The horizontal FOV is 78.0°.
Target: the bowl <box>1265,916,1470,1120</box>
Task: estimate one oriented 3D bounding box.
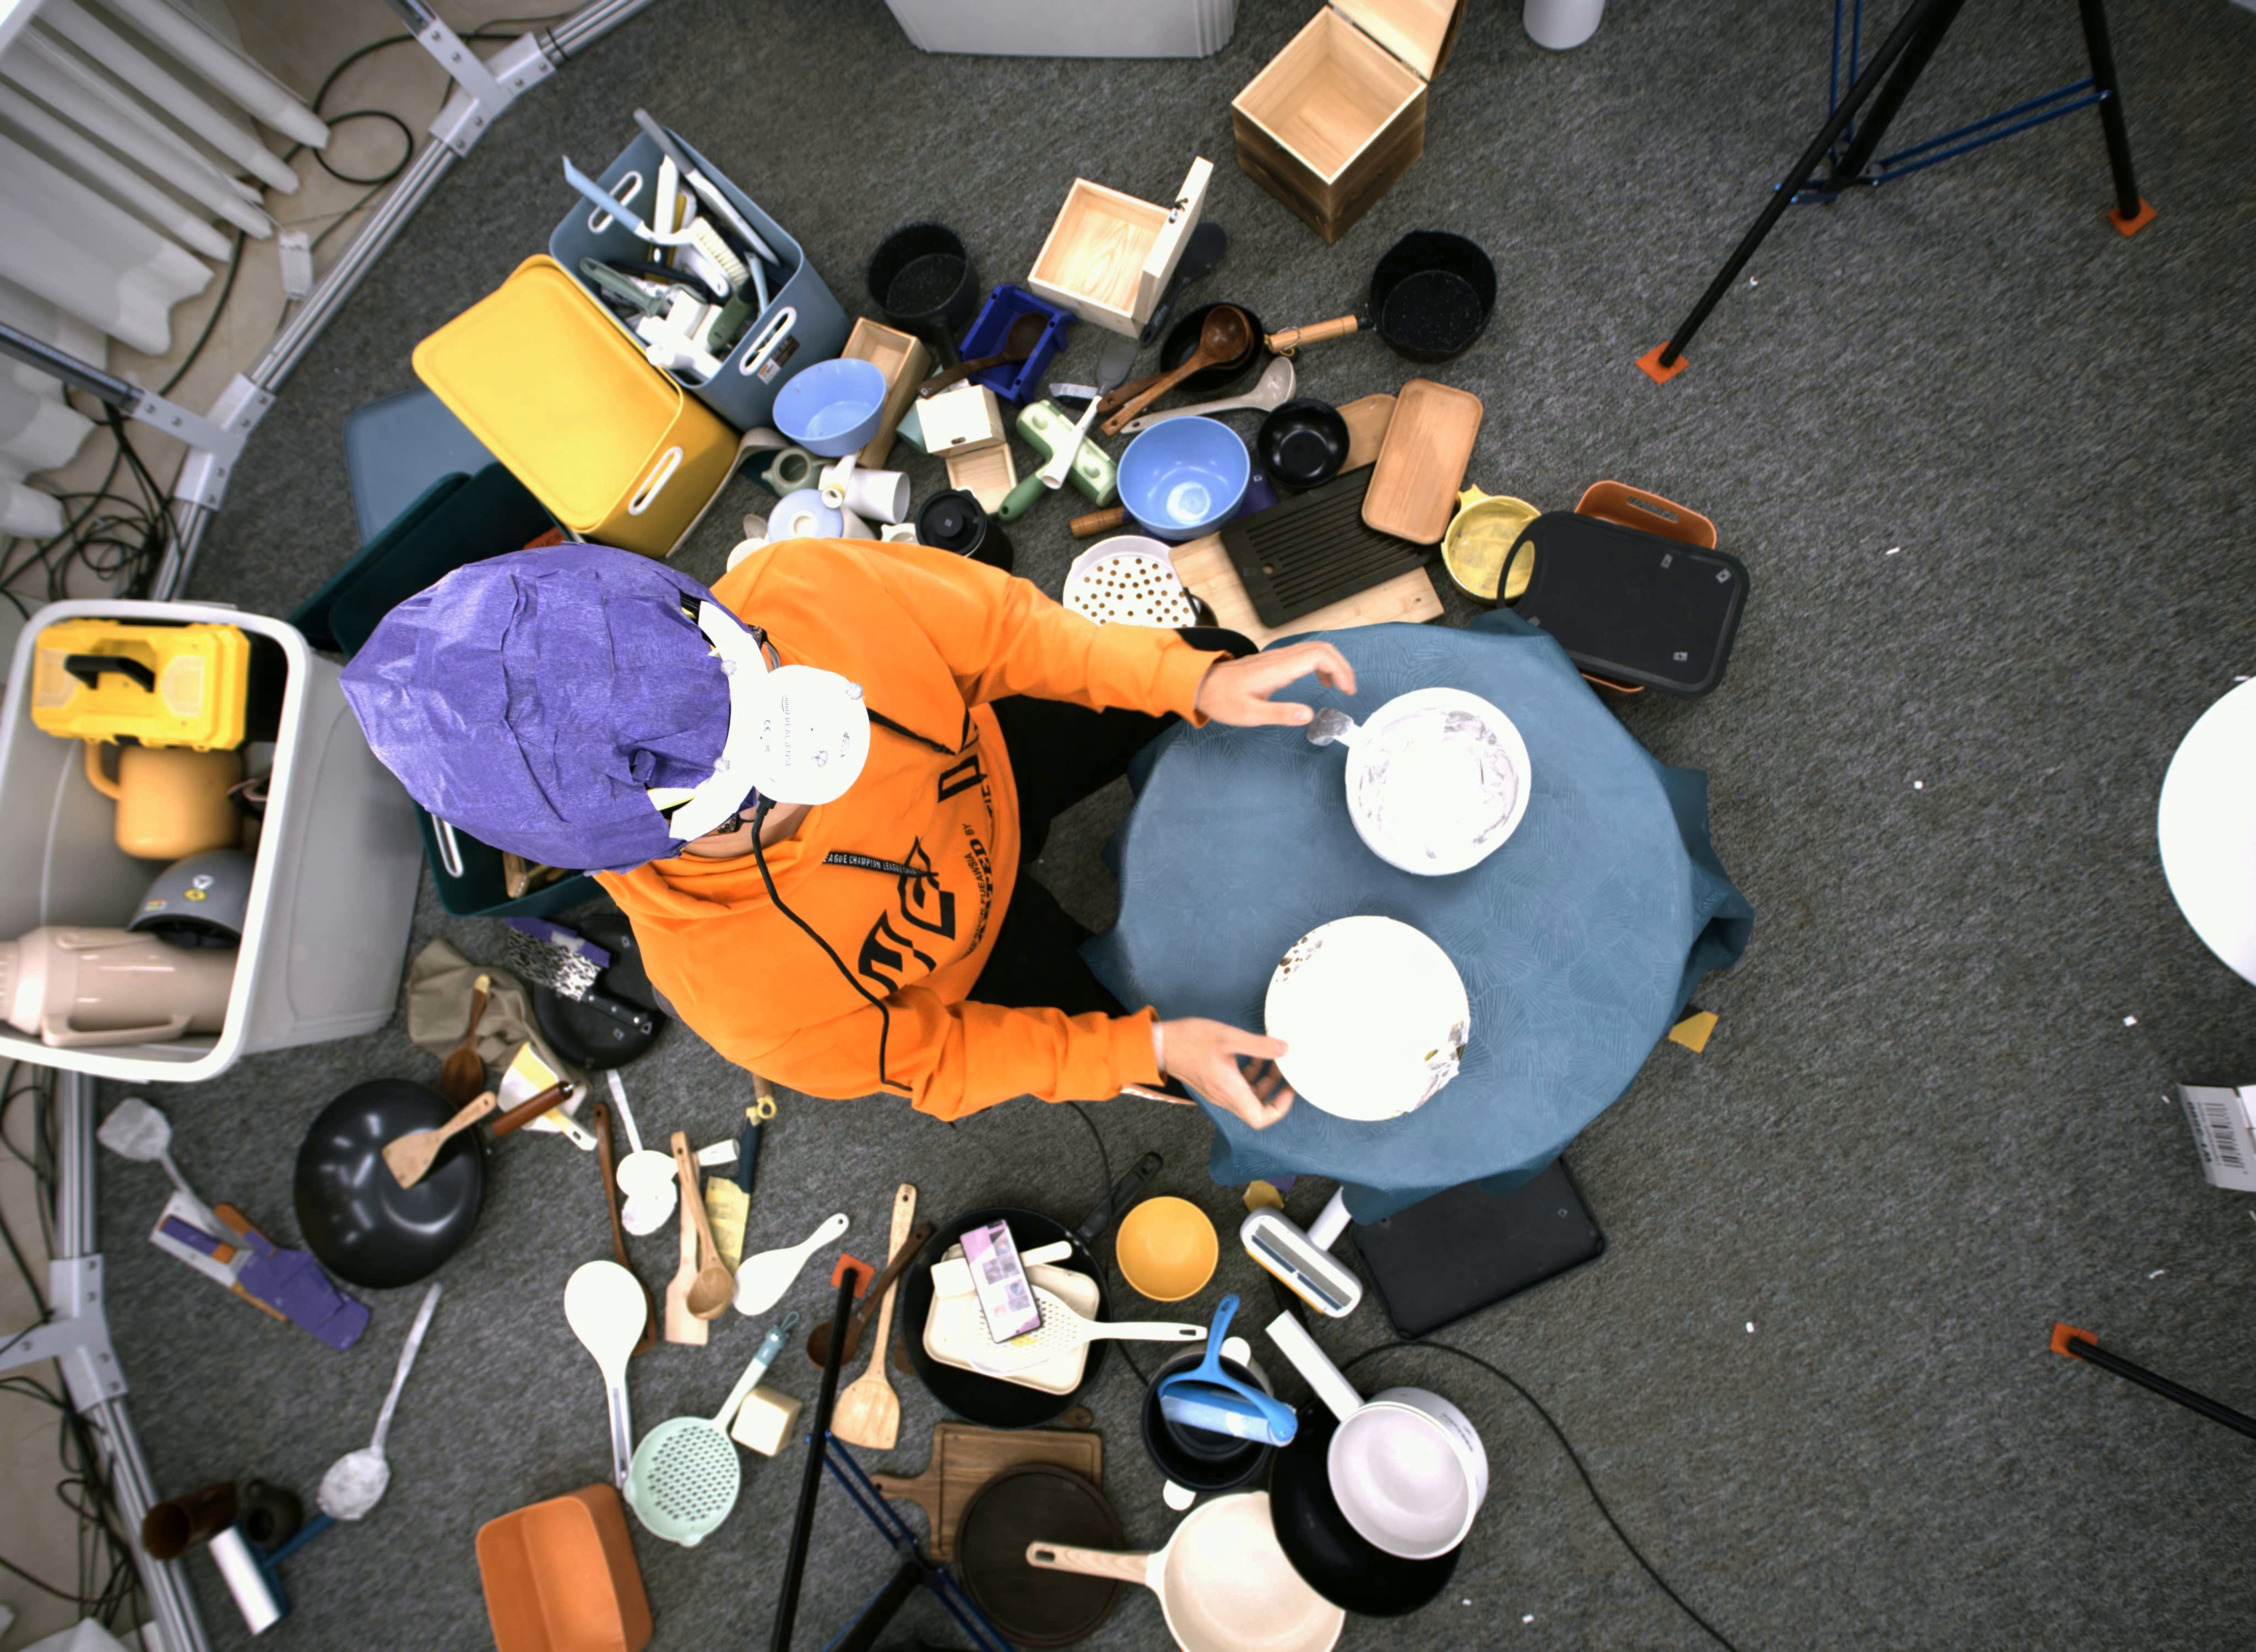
[{"bbox_3d":[0.246,0.194,1.420,0.205,0.078,0.203,-1,86,13],"label":"bowl"}]

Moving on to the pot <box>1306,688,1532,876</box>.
[{"bbox_3d":[0.285,-0.055,1.394,0.233,0.137,0.179,29,91,10],"label":"pot"}]
